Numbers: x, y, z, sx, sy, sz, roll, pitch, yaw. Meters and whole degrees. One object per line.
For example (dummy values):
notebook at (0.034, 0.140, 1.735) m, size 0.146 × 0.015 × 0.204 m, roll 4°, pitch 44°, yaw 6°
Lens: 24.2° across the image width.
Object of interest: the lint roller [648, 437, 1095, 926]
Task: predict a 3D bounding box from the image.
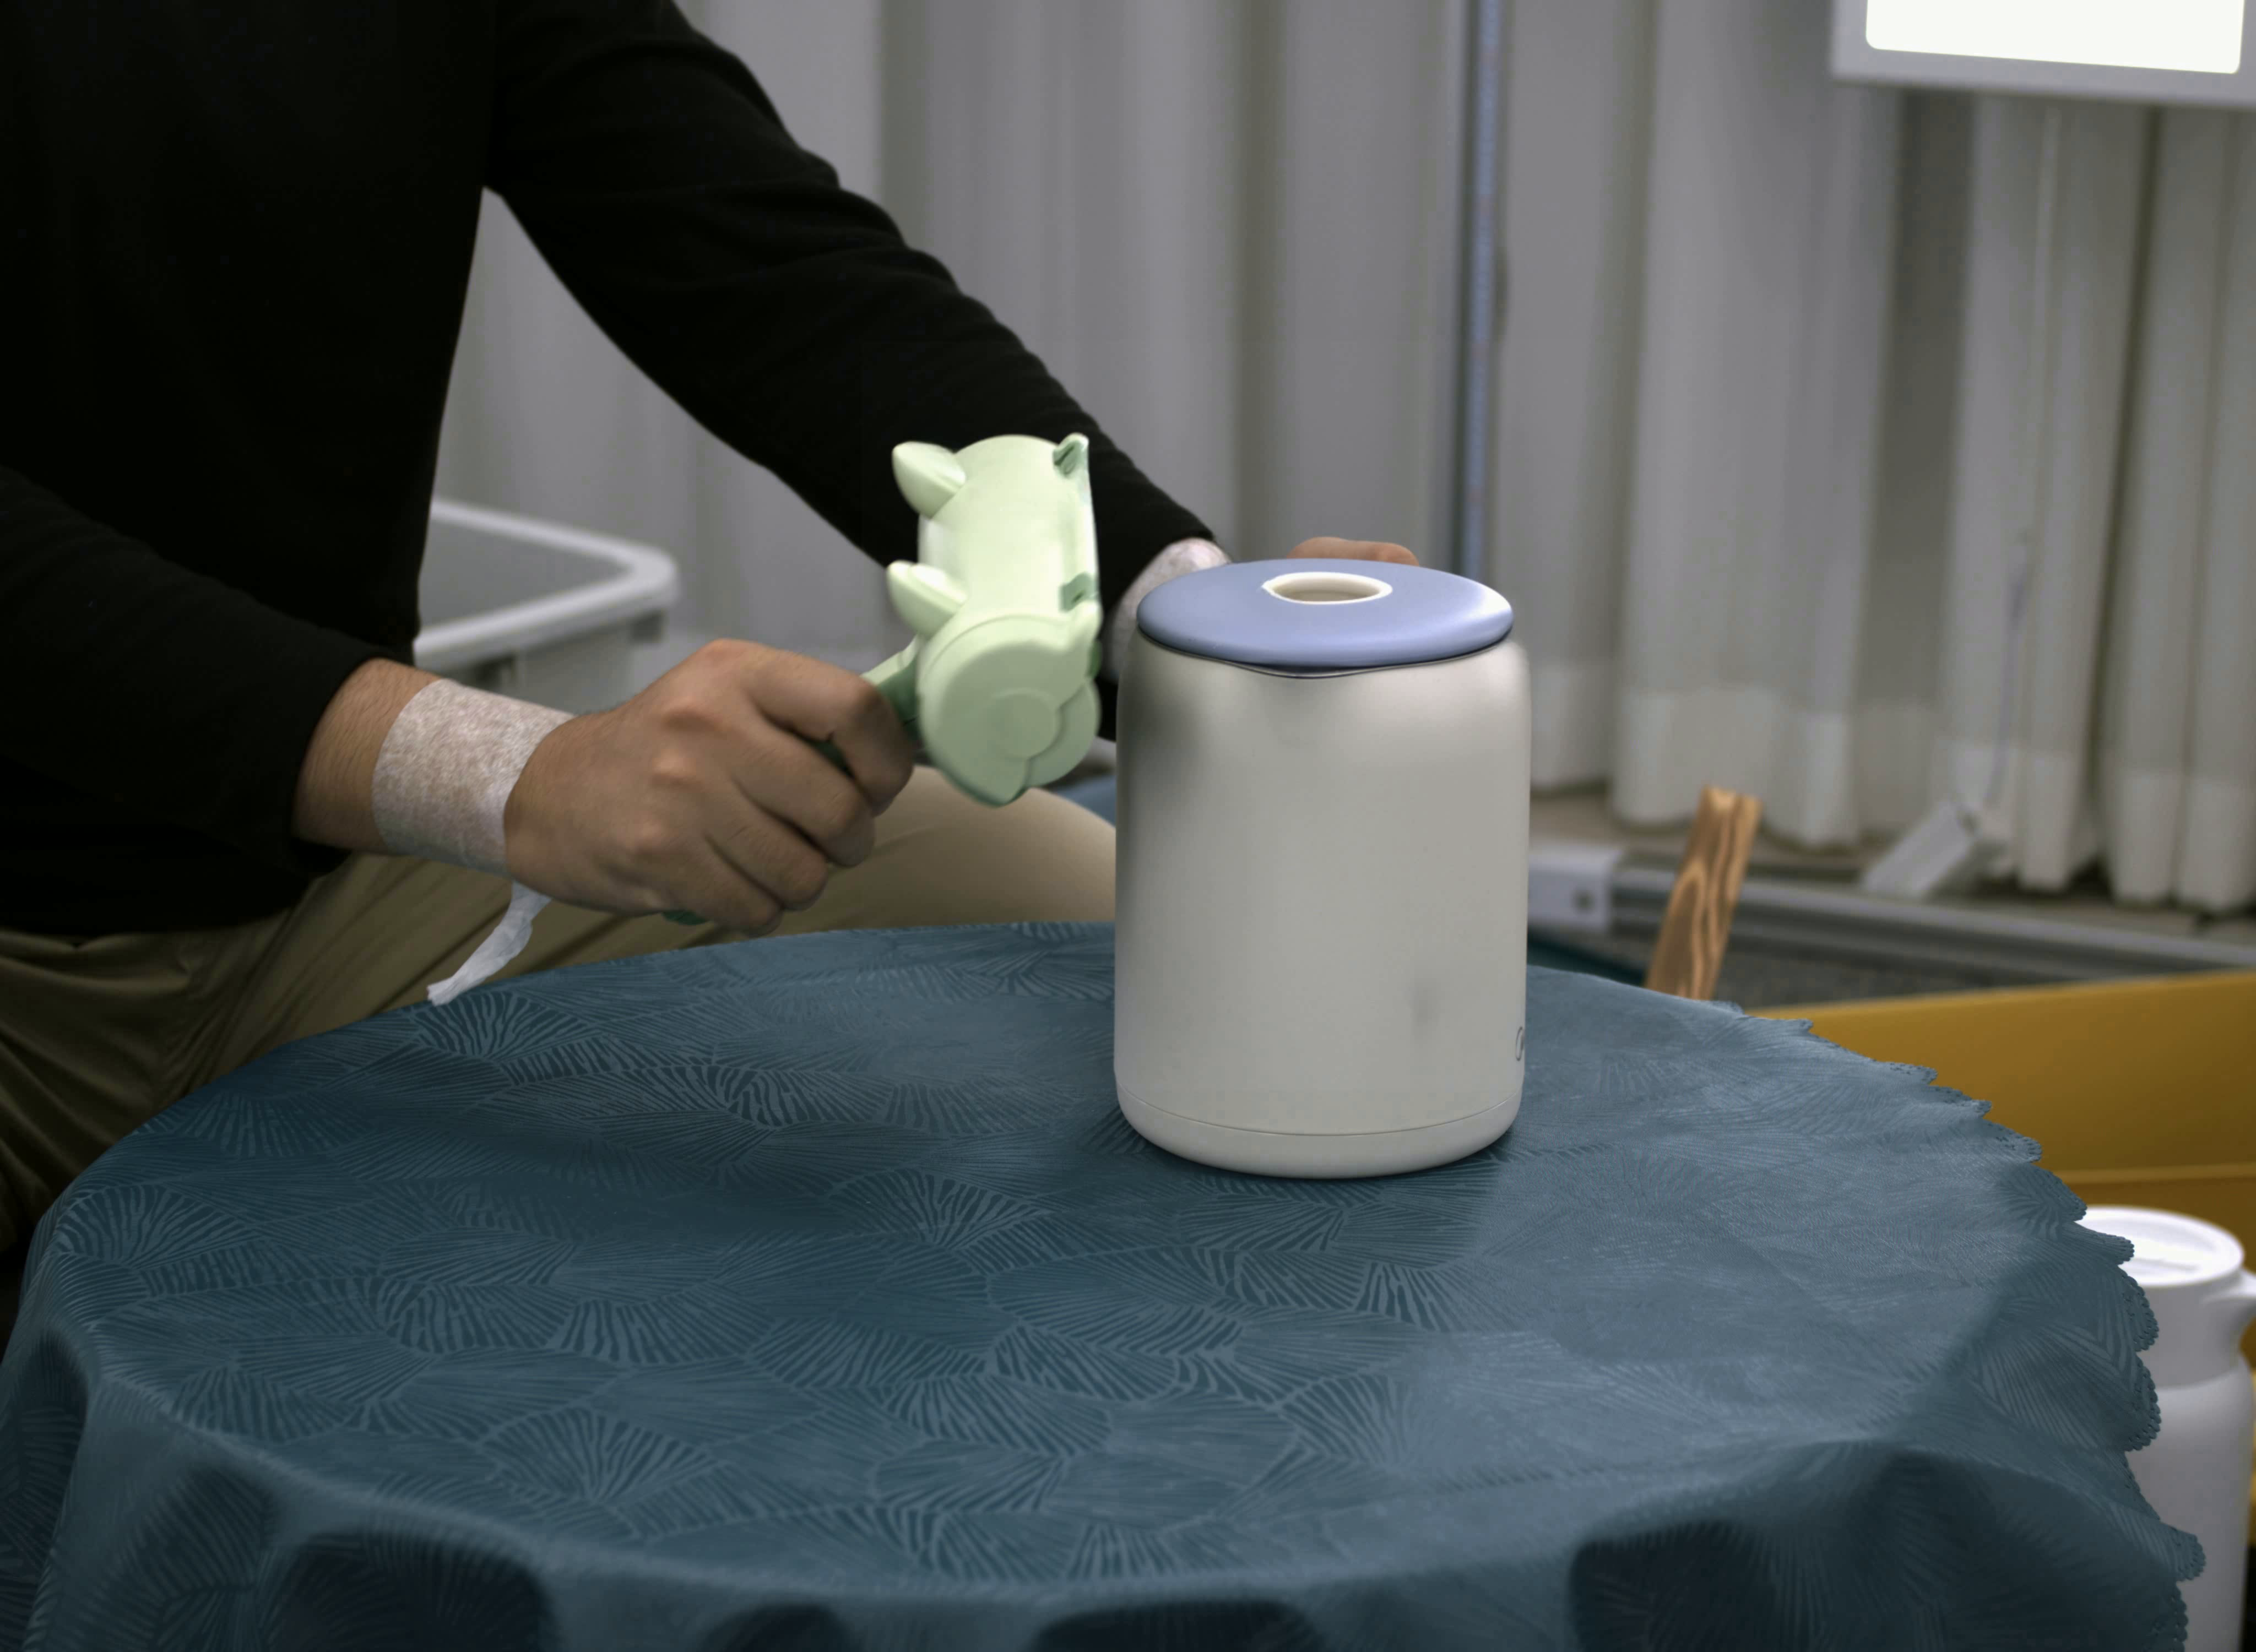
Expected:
lint roller at (-0.088, -0.044, 1.623) m, size 0.183 × 0.083 × 0.197 m, roll -31°, pitch 19°, yaw 10°

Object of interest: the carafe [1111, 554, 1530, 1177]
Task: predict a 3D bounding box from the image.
carafe at (0.063, 0.005, 1.686) m, size 0.131 × 0.184 × 0.190 m, roll 3°, pitch 14°, yaw 6°
